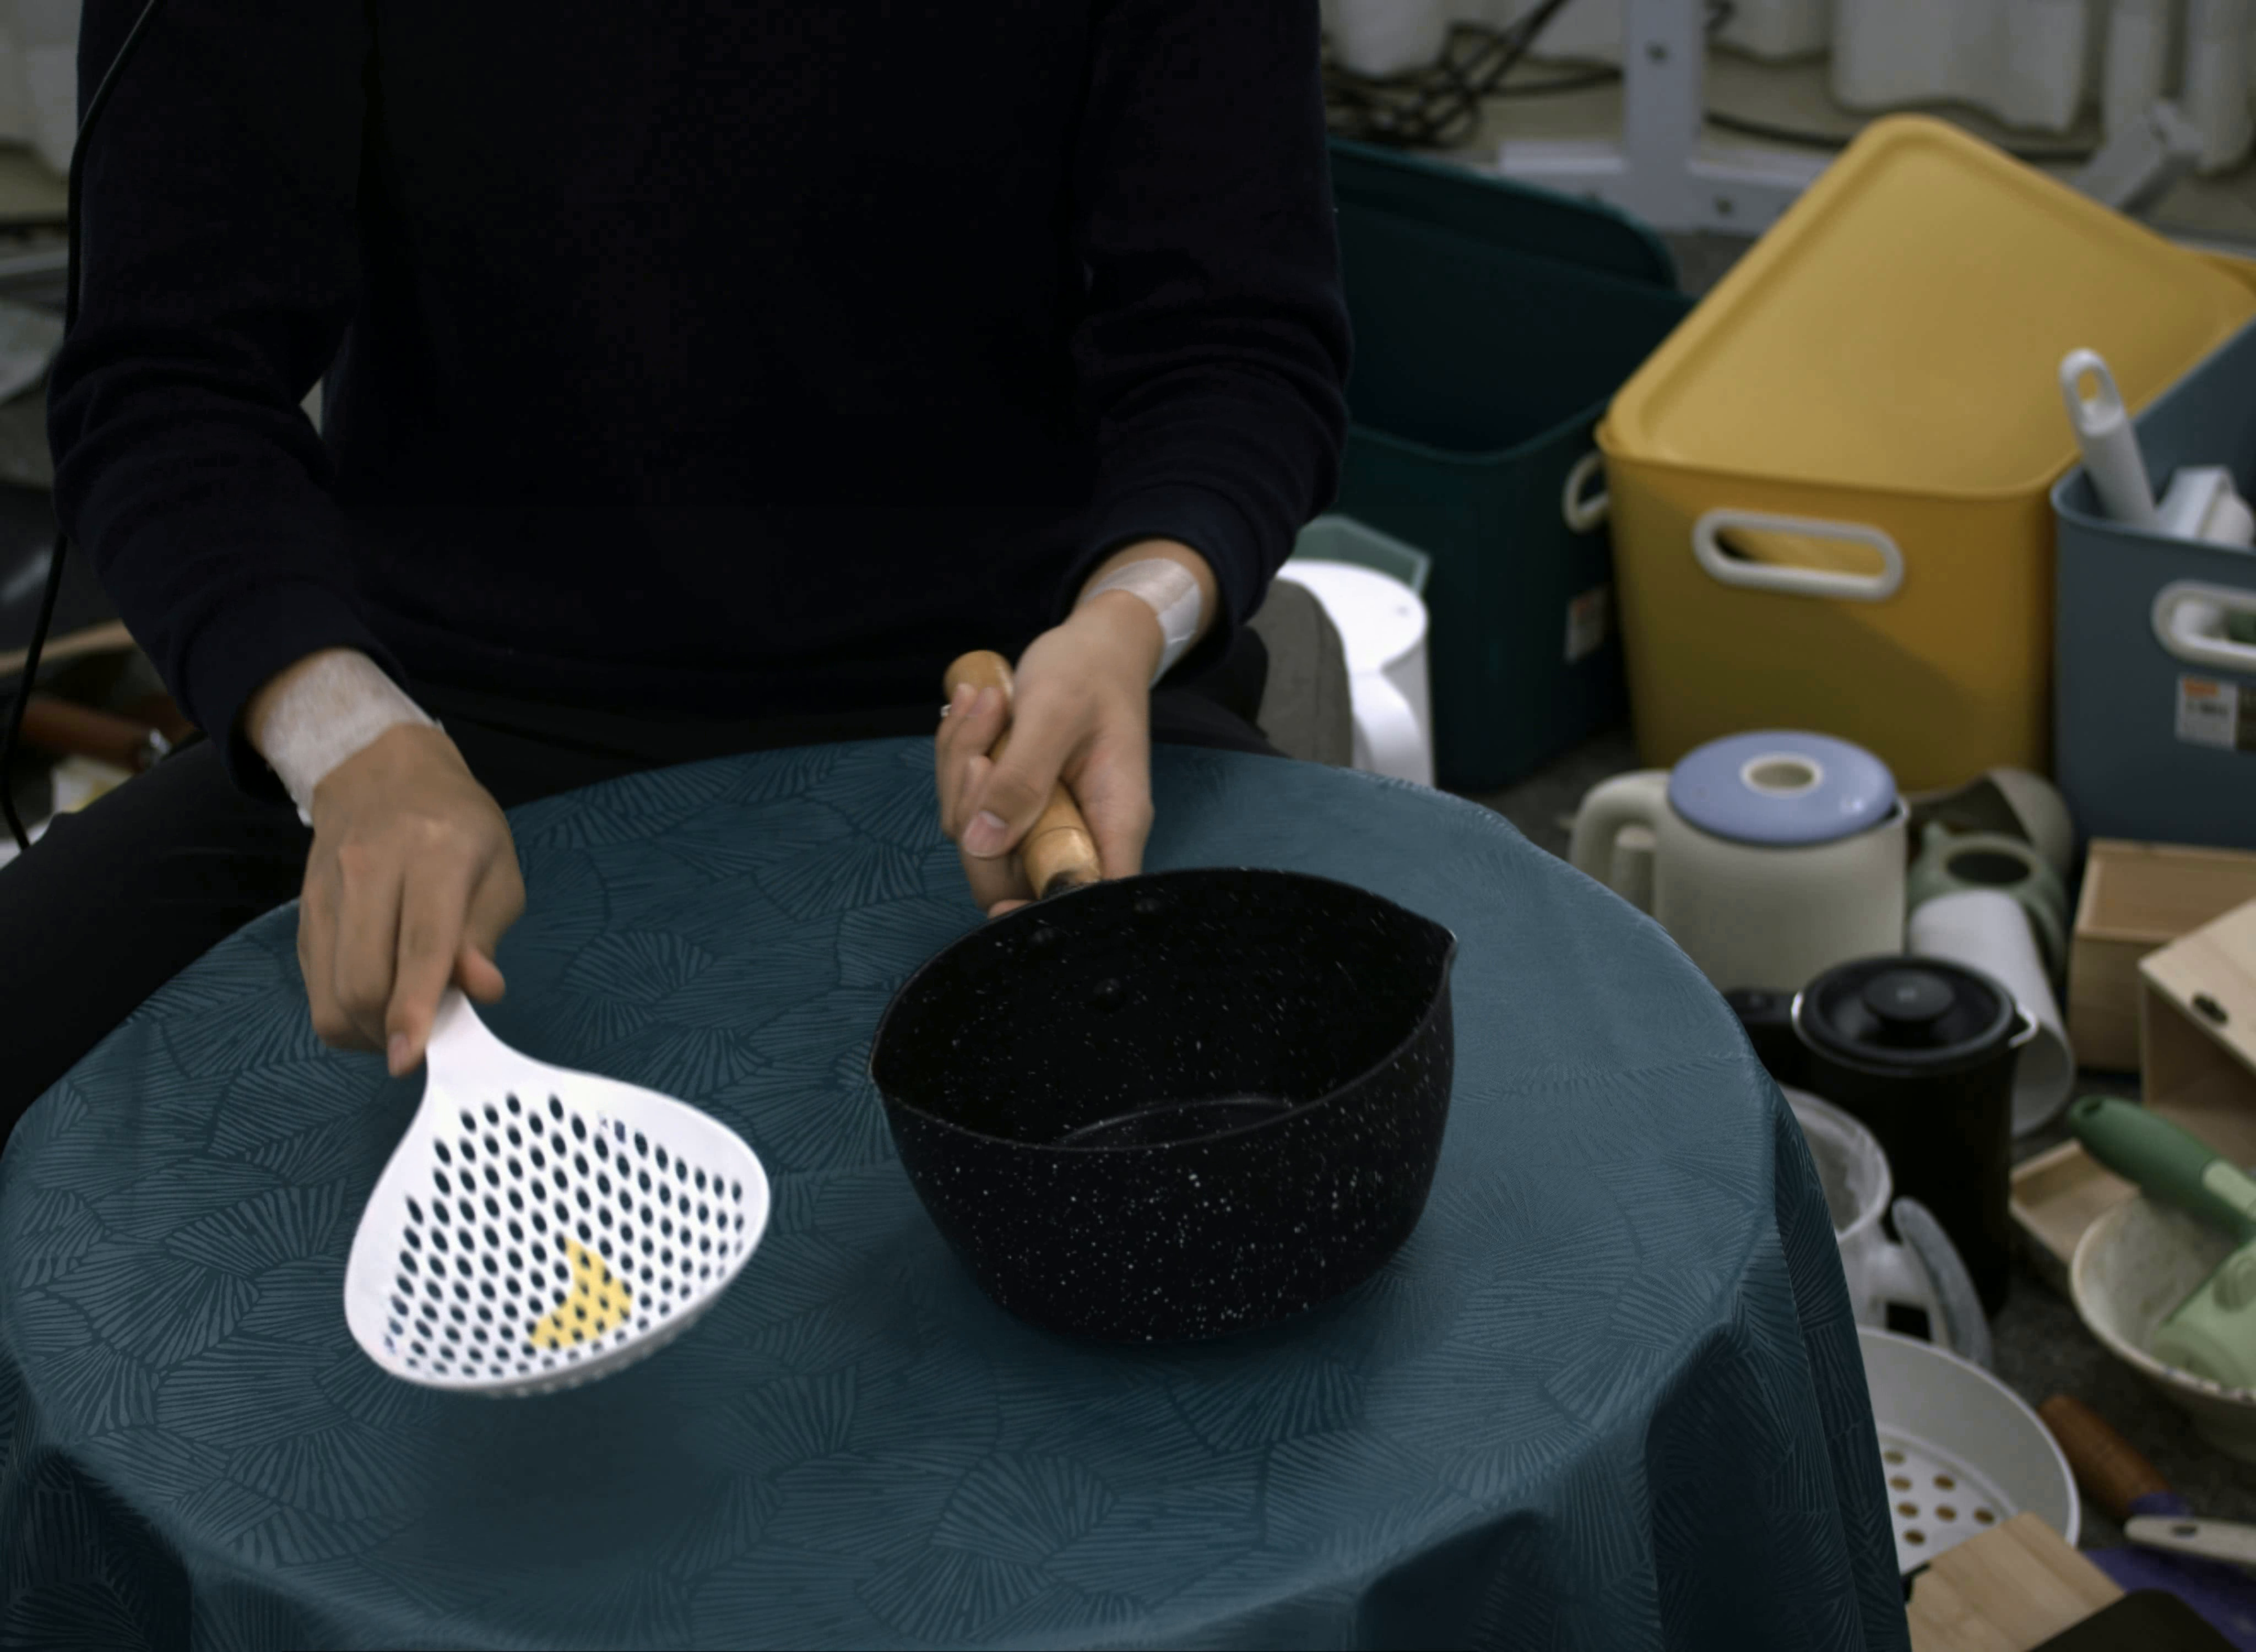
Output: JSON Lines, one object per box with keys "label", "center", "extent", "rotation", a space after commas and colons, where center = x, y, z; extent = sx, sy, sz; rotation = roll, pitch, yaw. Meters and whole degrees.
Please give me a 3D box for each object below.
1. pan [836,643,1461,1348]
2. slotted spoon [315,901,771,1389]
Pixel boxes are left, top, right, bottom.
{"label": "pan", "center": [-0.008, 0.051, 1.879], "extent": [0.207, 0.107, 0.346], "rotation": [-15, 27, -11]}
{"label": "slotted spoon", "center": [-0.211, 0.088, 1.804], "extent": [0.137, 0.050, 0.351], "rotation": [-24, 34, -11]}
